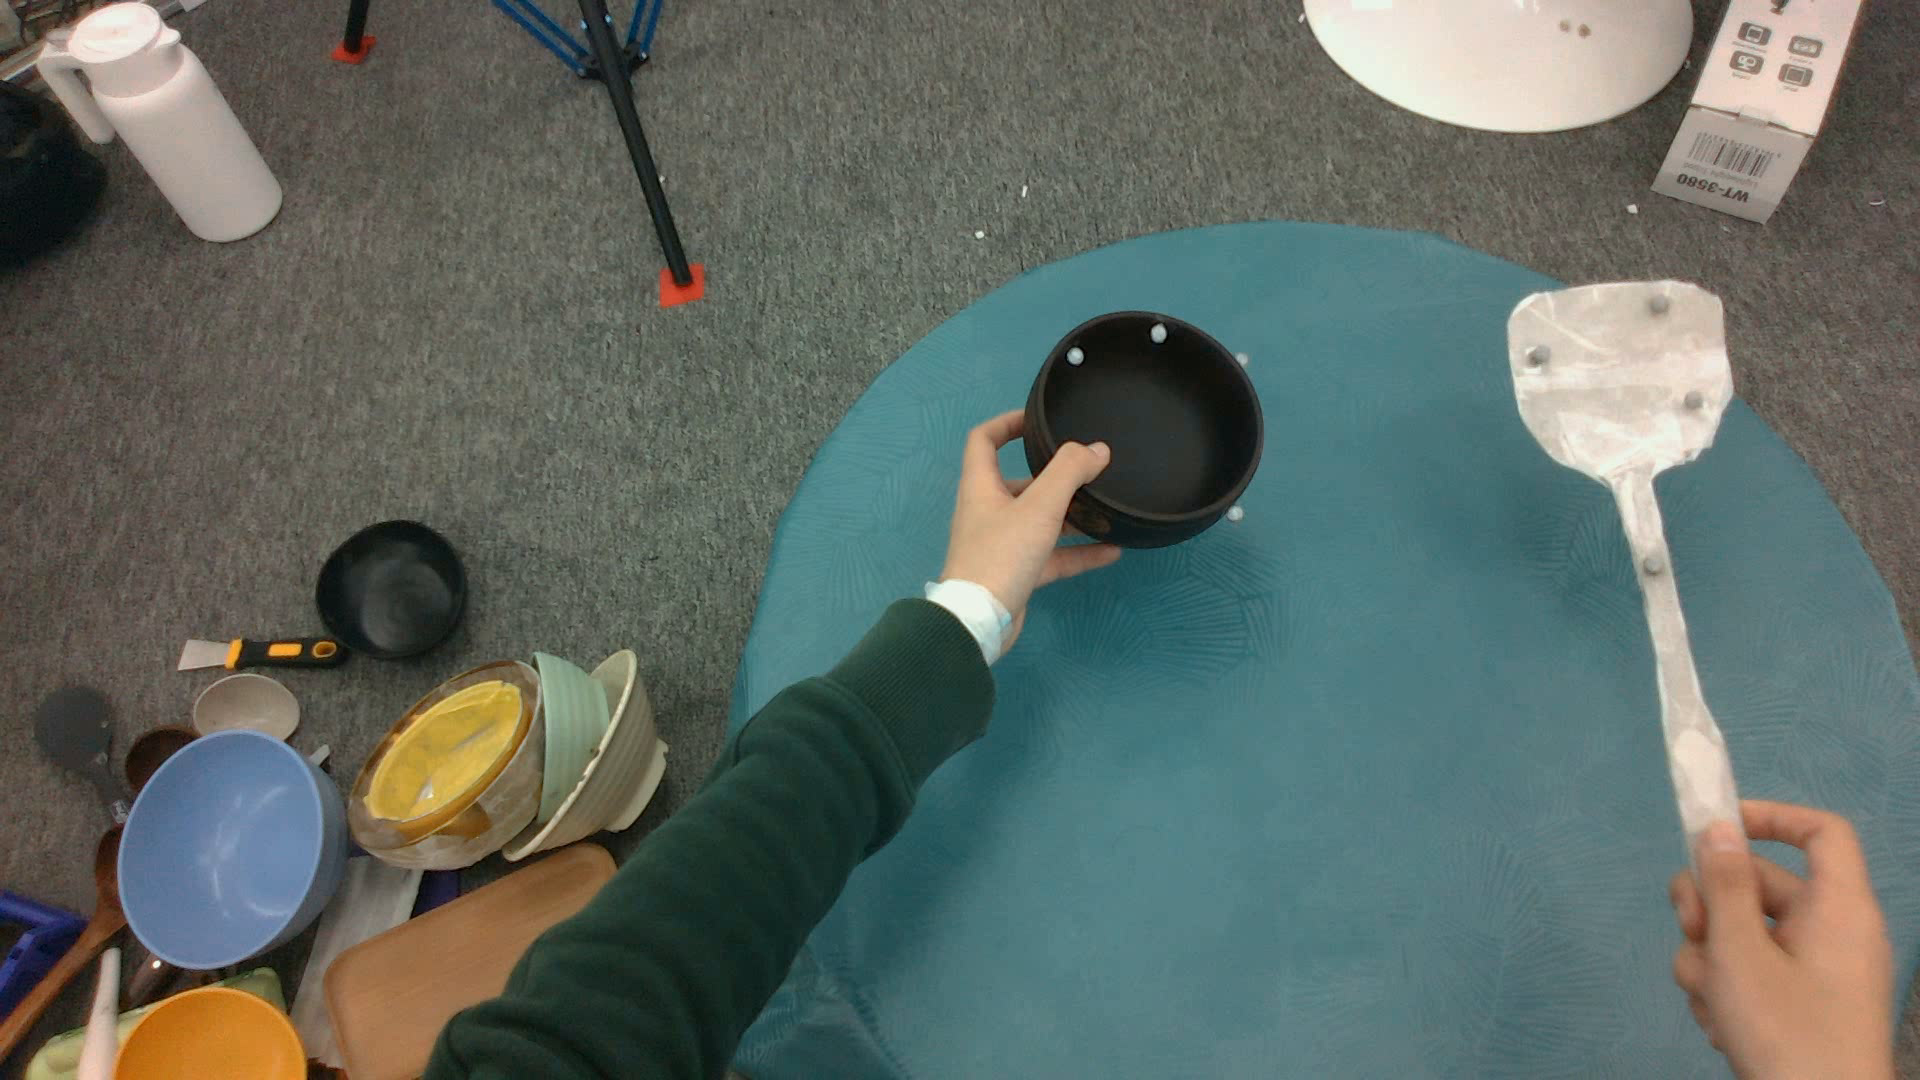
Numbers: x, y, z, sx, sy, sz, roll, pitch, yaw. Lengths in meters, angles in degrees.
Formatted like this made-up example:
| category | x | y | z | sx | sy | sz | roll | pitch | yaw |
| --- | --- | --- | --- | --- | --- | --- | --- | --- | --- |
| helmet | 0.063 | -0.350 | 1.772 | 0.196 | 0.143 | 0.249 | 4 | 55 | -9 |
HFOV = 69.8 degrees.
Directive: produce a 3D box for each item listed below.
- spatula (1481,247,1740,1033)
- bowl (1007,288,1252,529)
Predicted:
| category | x | y | z | sx | sy | sz | roll | pitch | yaw |
| --- | --- | --- | --- | --- | --- | --- | --- | --- | --- |
| spatula | 0.290 | 0.018 | 0.587 | 0.098 | 0.044 | 0.366 | -3 | 54 | 14 |
| bowl | 0.080 | -0.059 | 0.691 | 0.118 | 0.069 | 0.118 | 4 | 69 | -9 |
